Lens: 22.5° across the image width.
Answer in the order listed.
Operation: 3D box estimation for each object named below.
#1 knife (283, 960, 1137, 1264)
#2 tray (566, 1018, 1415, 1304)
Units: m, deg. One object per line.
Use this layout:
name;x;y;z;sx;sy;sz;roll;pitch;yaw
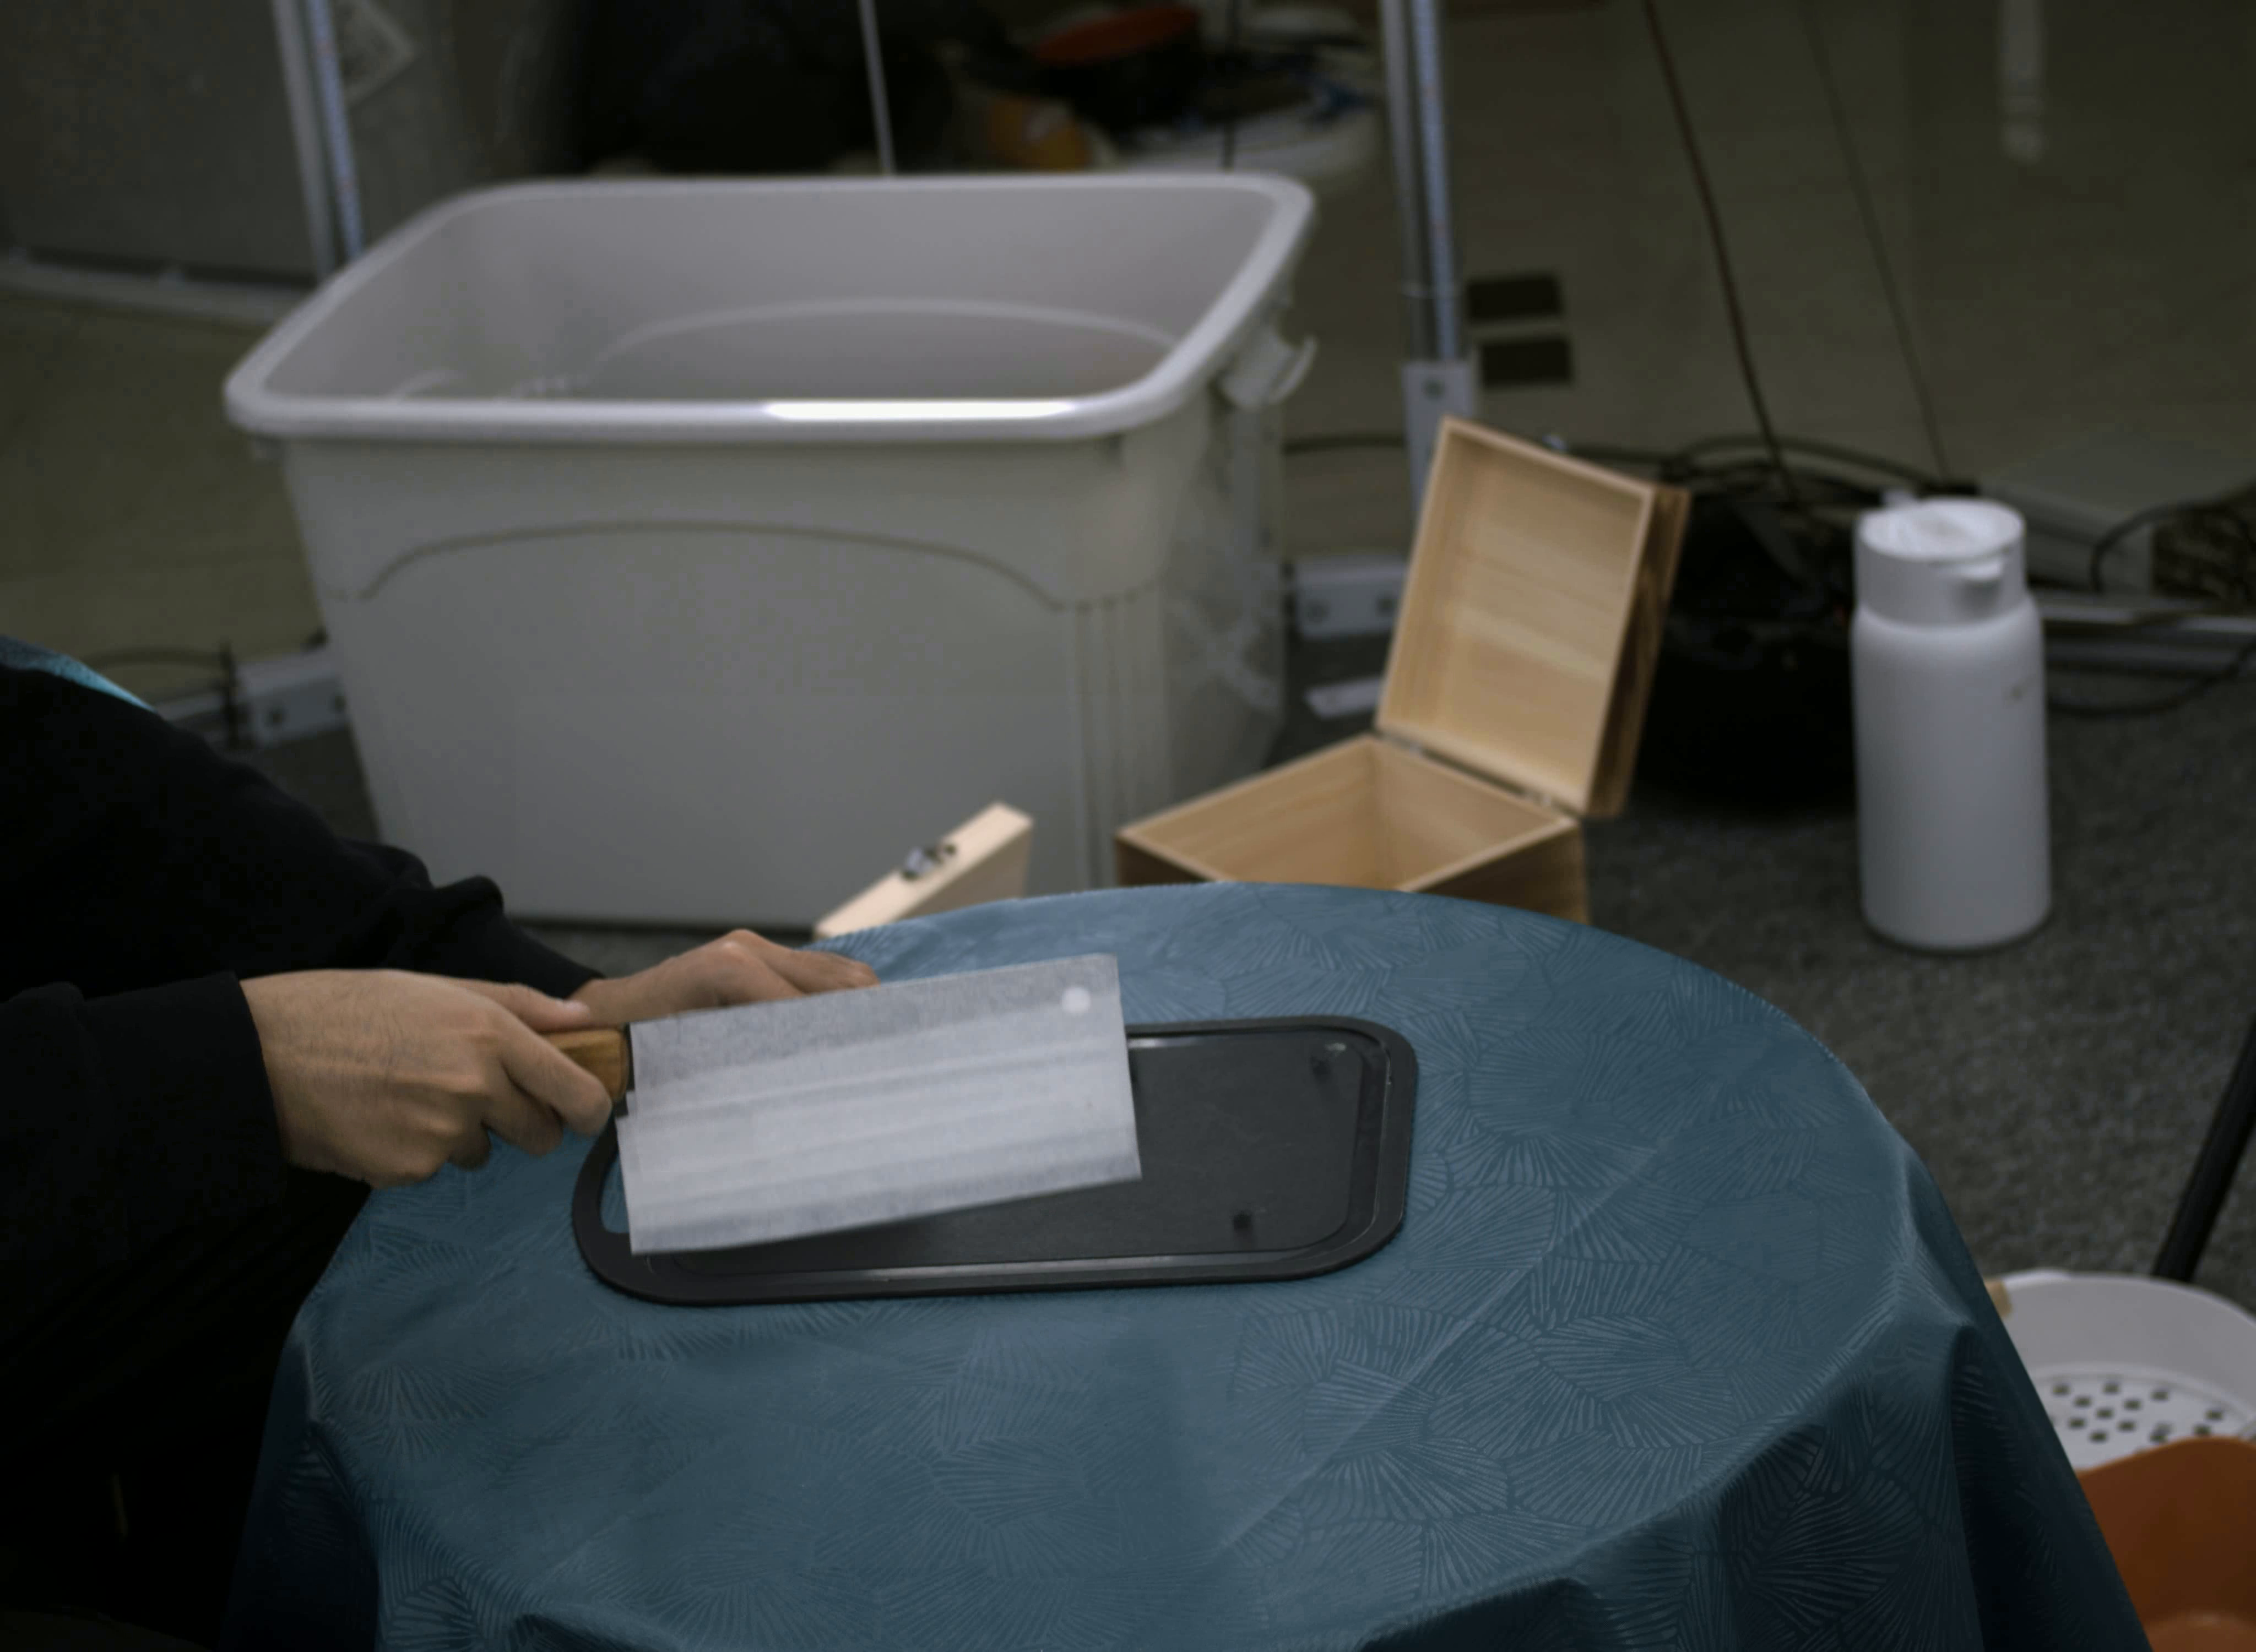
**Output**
knife;-0.149;0.111;2.057;0.305;0.094;0.021;-8;16;-4
tray;-0.054;0.126;2.179;0.325;0.010;0.208;-3;25;8
